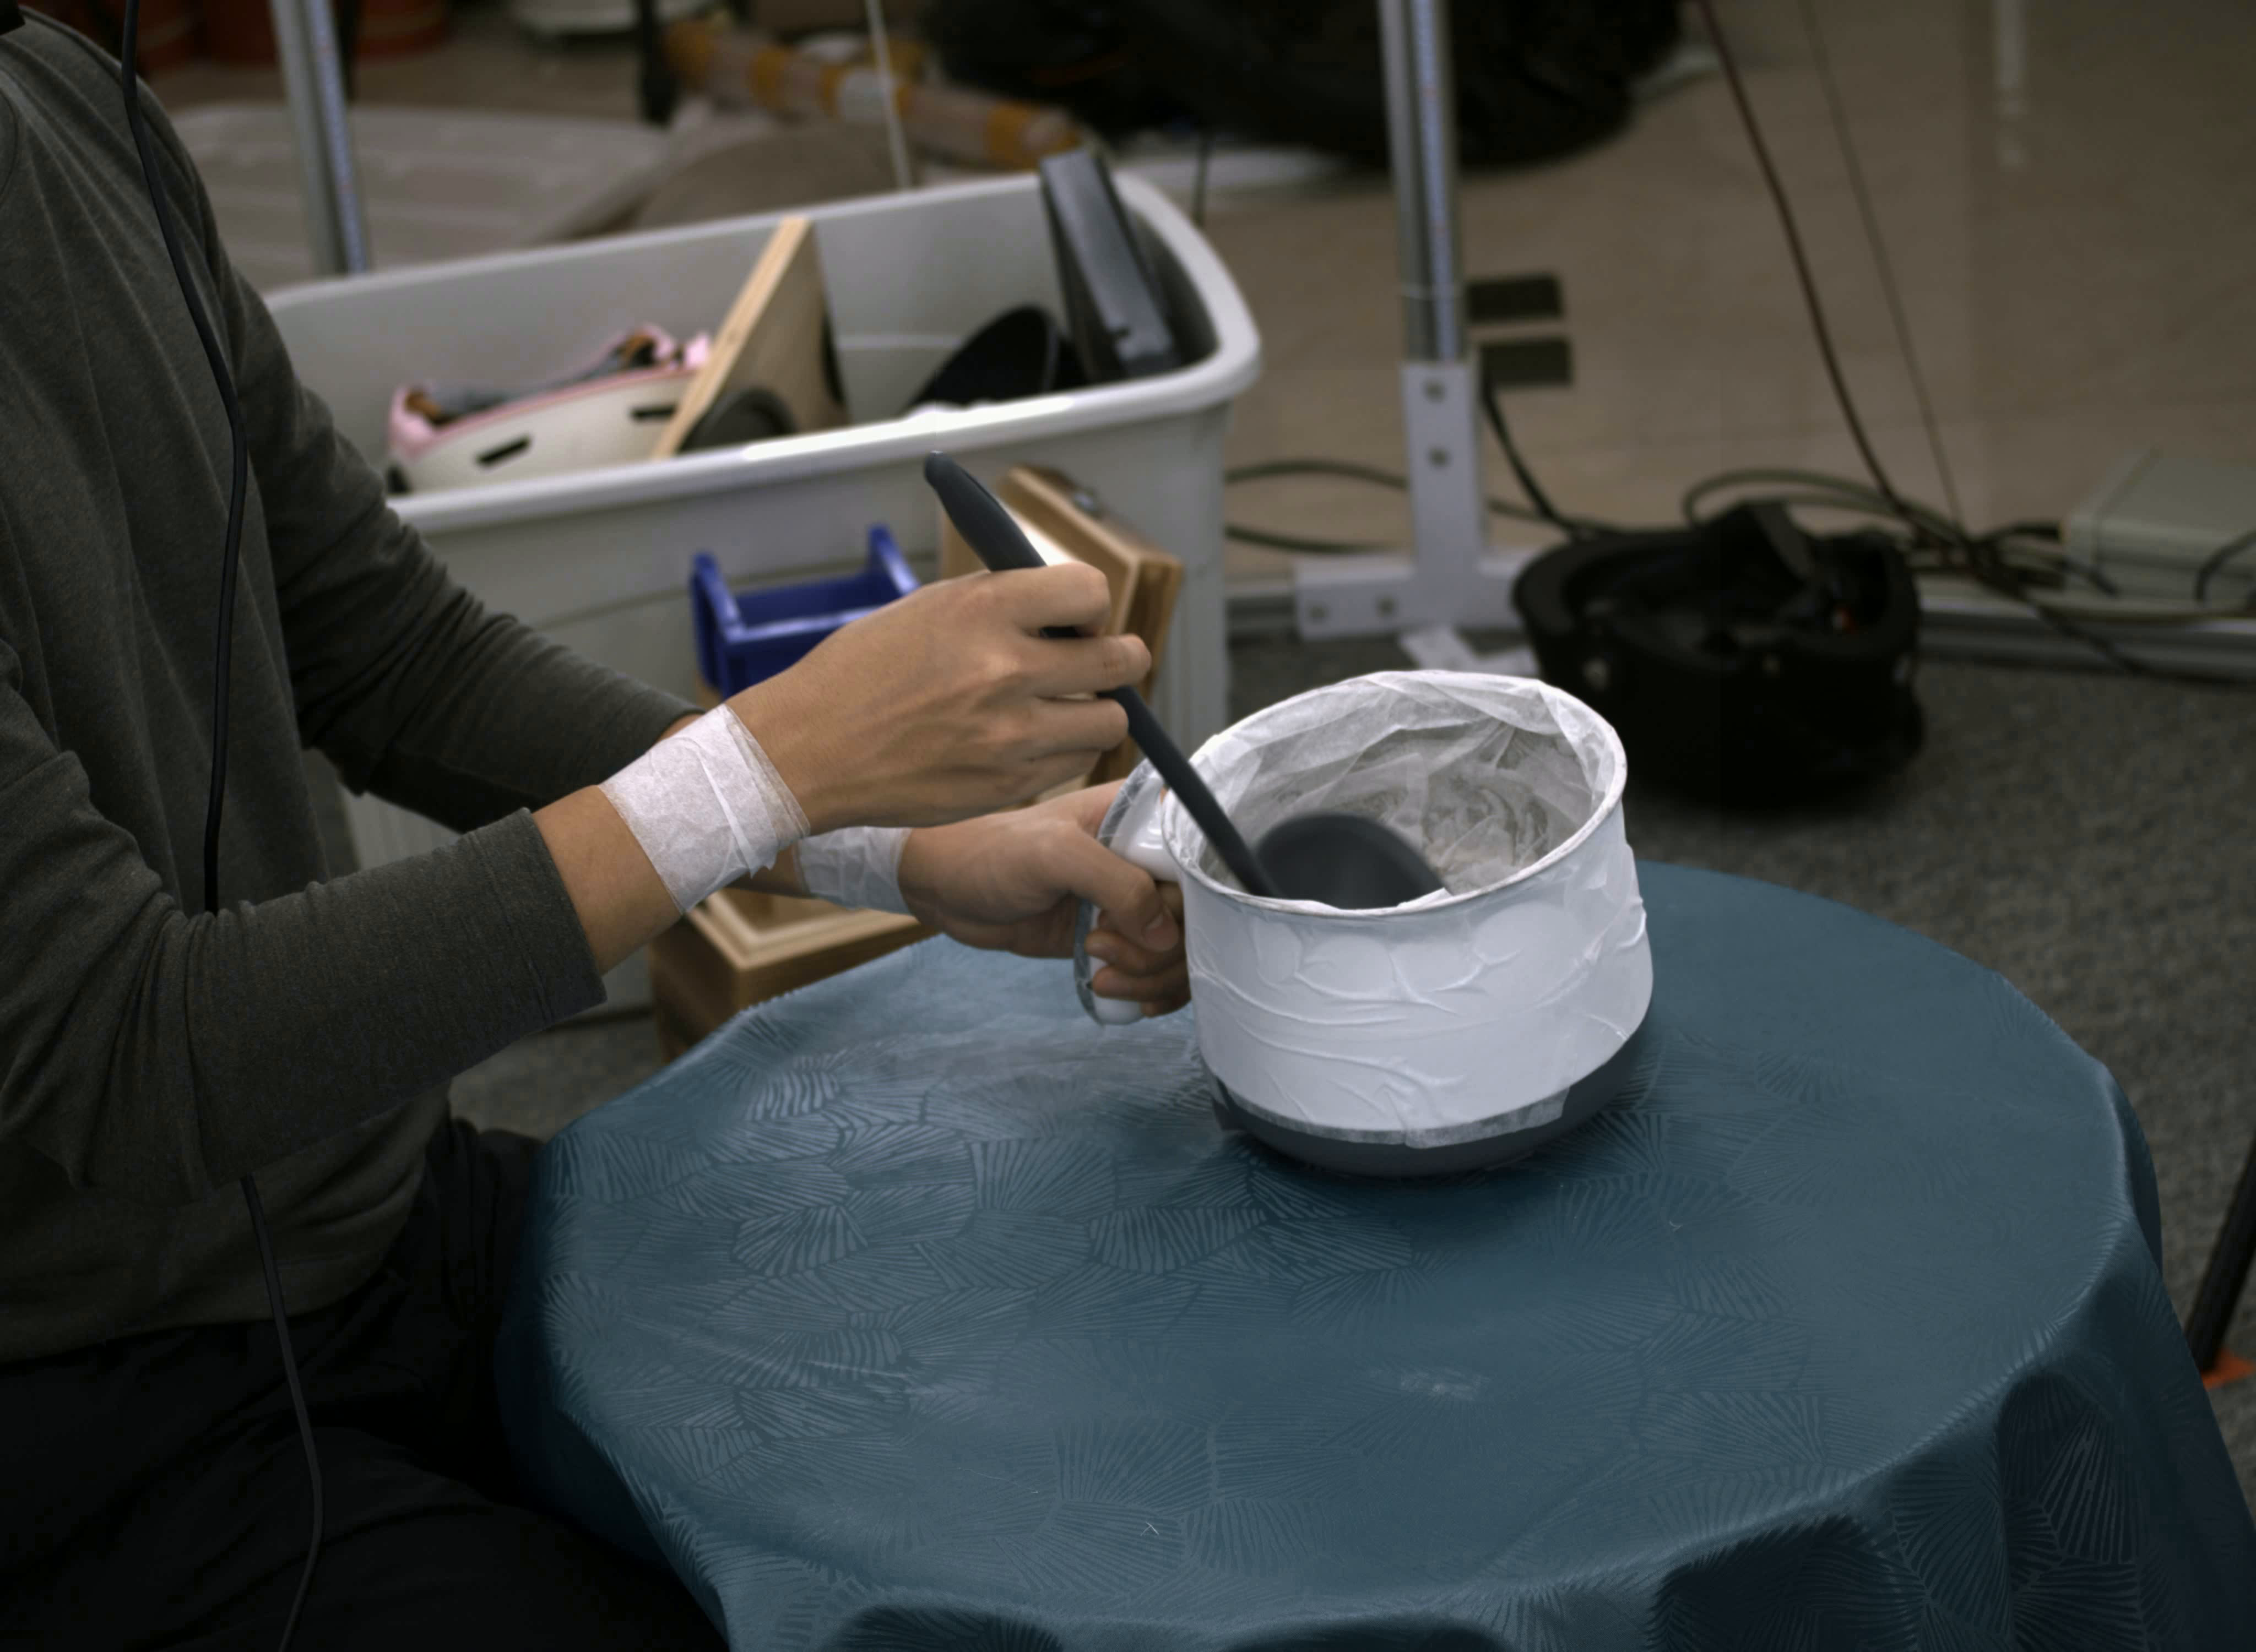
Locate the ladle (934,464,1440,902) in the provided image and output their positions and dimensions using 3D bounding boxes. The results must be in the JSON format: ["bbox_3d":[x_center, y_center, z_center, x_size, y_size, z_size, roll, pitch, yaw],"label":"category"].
[{"bbox_3d":[0.026,-0.045,2.058,0.064,0.319,0.085,-38,43,0],"label":"ladle"}]

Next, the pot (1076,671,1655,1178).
[{"bbox_3d":[0.084,0.038,2.171,0.233,0.139,0.176,5,34,24],"label":"pot"}]
